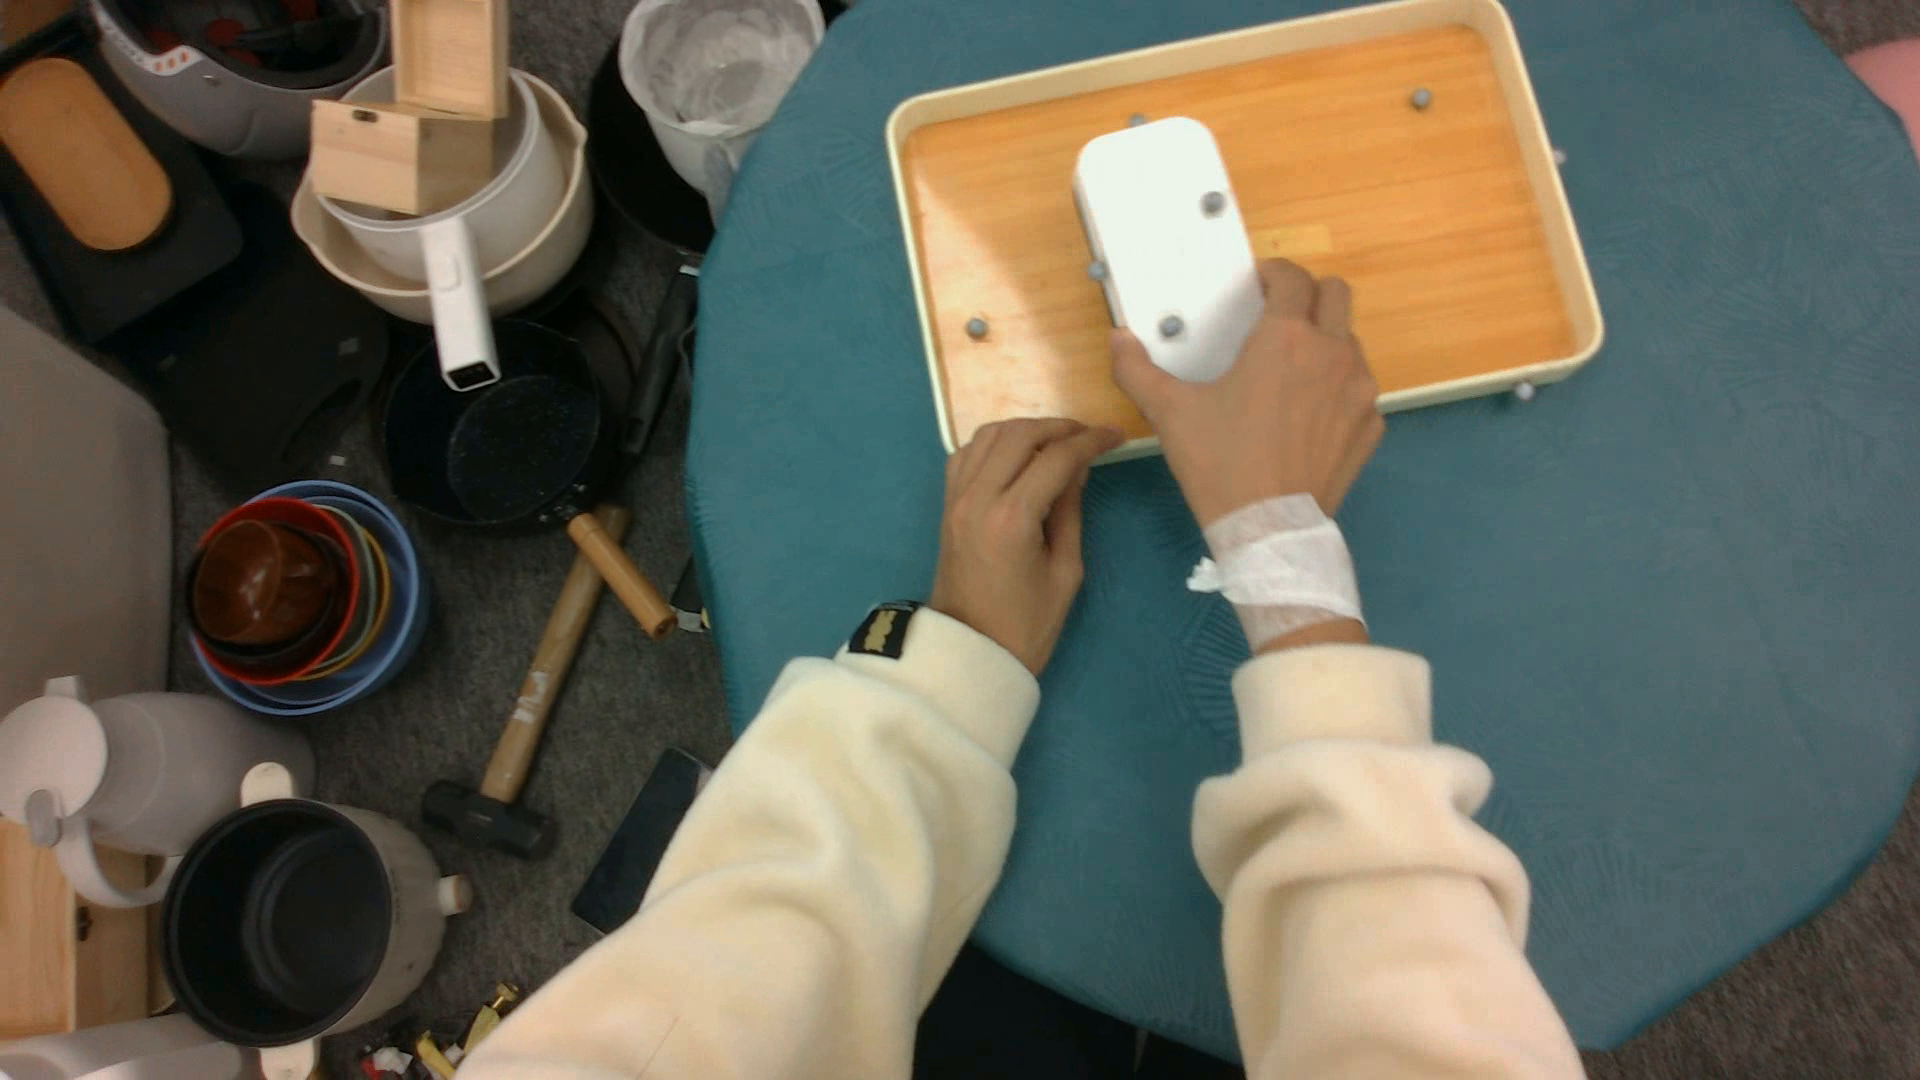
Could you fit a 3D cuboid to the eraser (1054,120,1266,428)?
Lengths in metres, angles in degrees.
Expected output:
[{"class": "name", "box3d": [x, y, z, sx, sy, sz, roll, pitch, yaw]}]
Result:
[{"class": "eraser", "box3d": [0.084, -0.114, 0.596, 0.063, 0.034, 0.131, -17, 85, -11]}]

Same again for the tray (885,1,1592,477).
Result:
[{"class": "tray", "box3d": [0.124, -0.145, 0.650, 0.300, 0.027, 0.192, -10, 76, 1]}]
